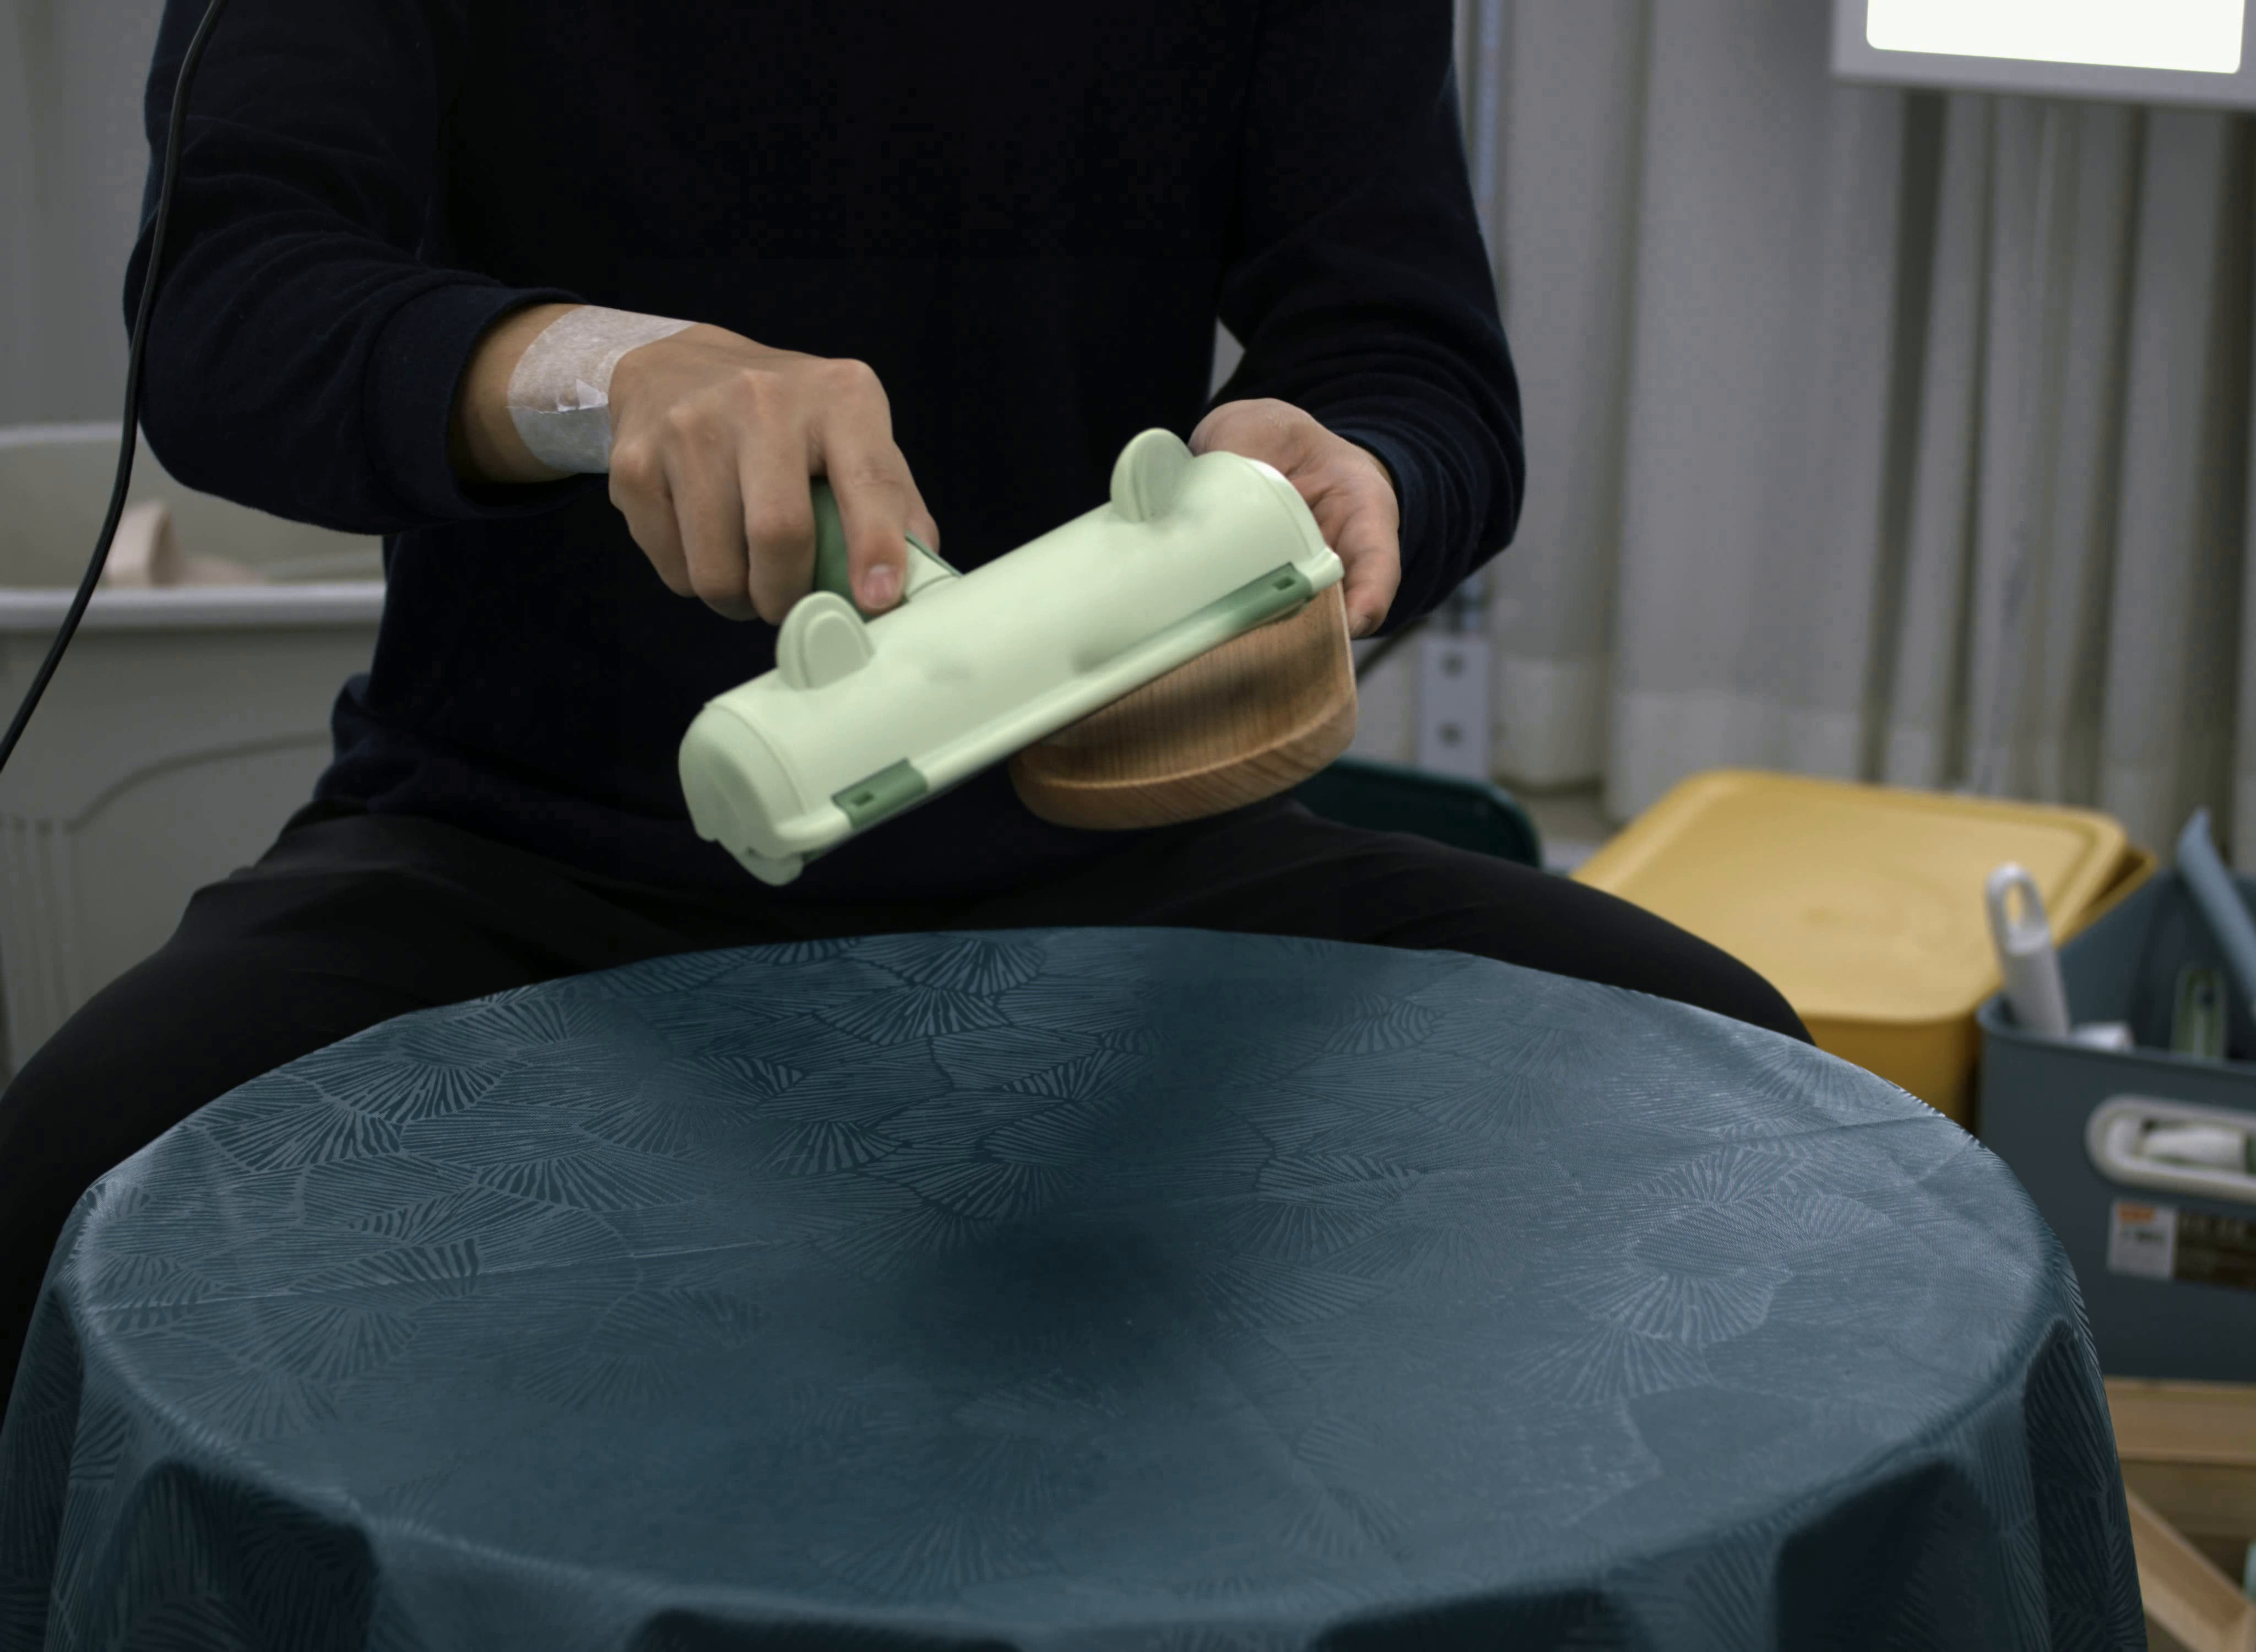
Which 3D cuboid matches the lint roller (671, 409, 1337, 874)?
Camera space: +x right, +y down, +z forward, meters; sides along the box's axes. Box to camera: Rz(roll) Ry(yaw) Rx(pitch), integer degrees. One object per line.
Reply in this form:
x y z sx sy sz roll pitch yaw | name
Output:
-0.069 -0.086 1.487 0.199 0.083 0.181 -28 55 -29 | lint roller

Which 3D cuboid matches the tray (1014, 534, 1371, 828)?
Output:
0.018 -0.044 1.525 0.101 0.020 0.229 -13 20 3 | tray
